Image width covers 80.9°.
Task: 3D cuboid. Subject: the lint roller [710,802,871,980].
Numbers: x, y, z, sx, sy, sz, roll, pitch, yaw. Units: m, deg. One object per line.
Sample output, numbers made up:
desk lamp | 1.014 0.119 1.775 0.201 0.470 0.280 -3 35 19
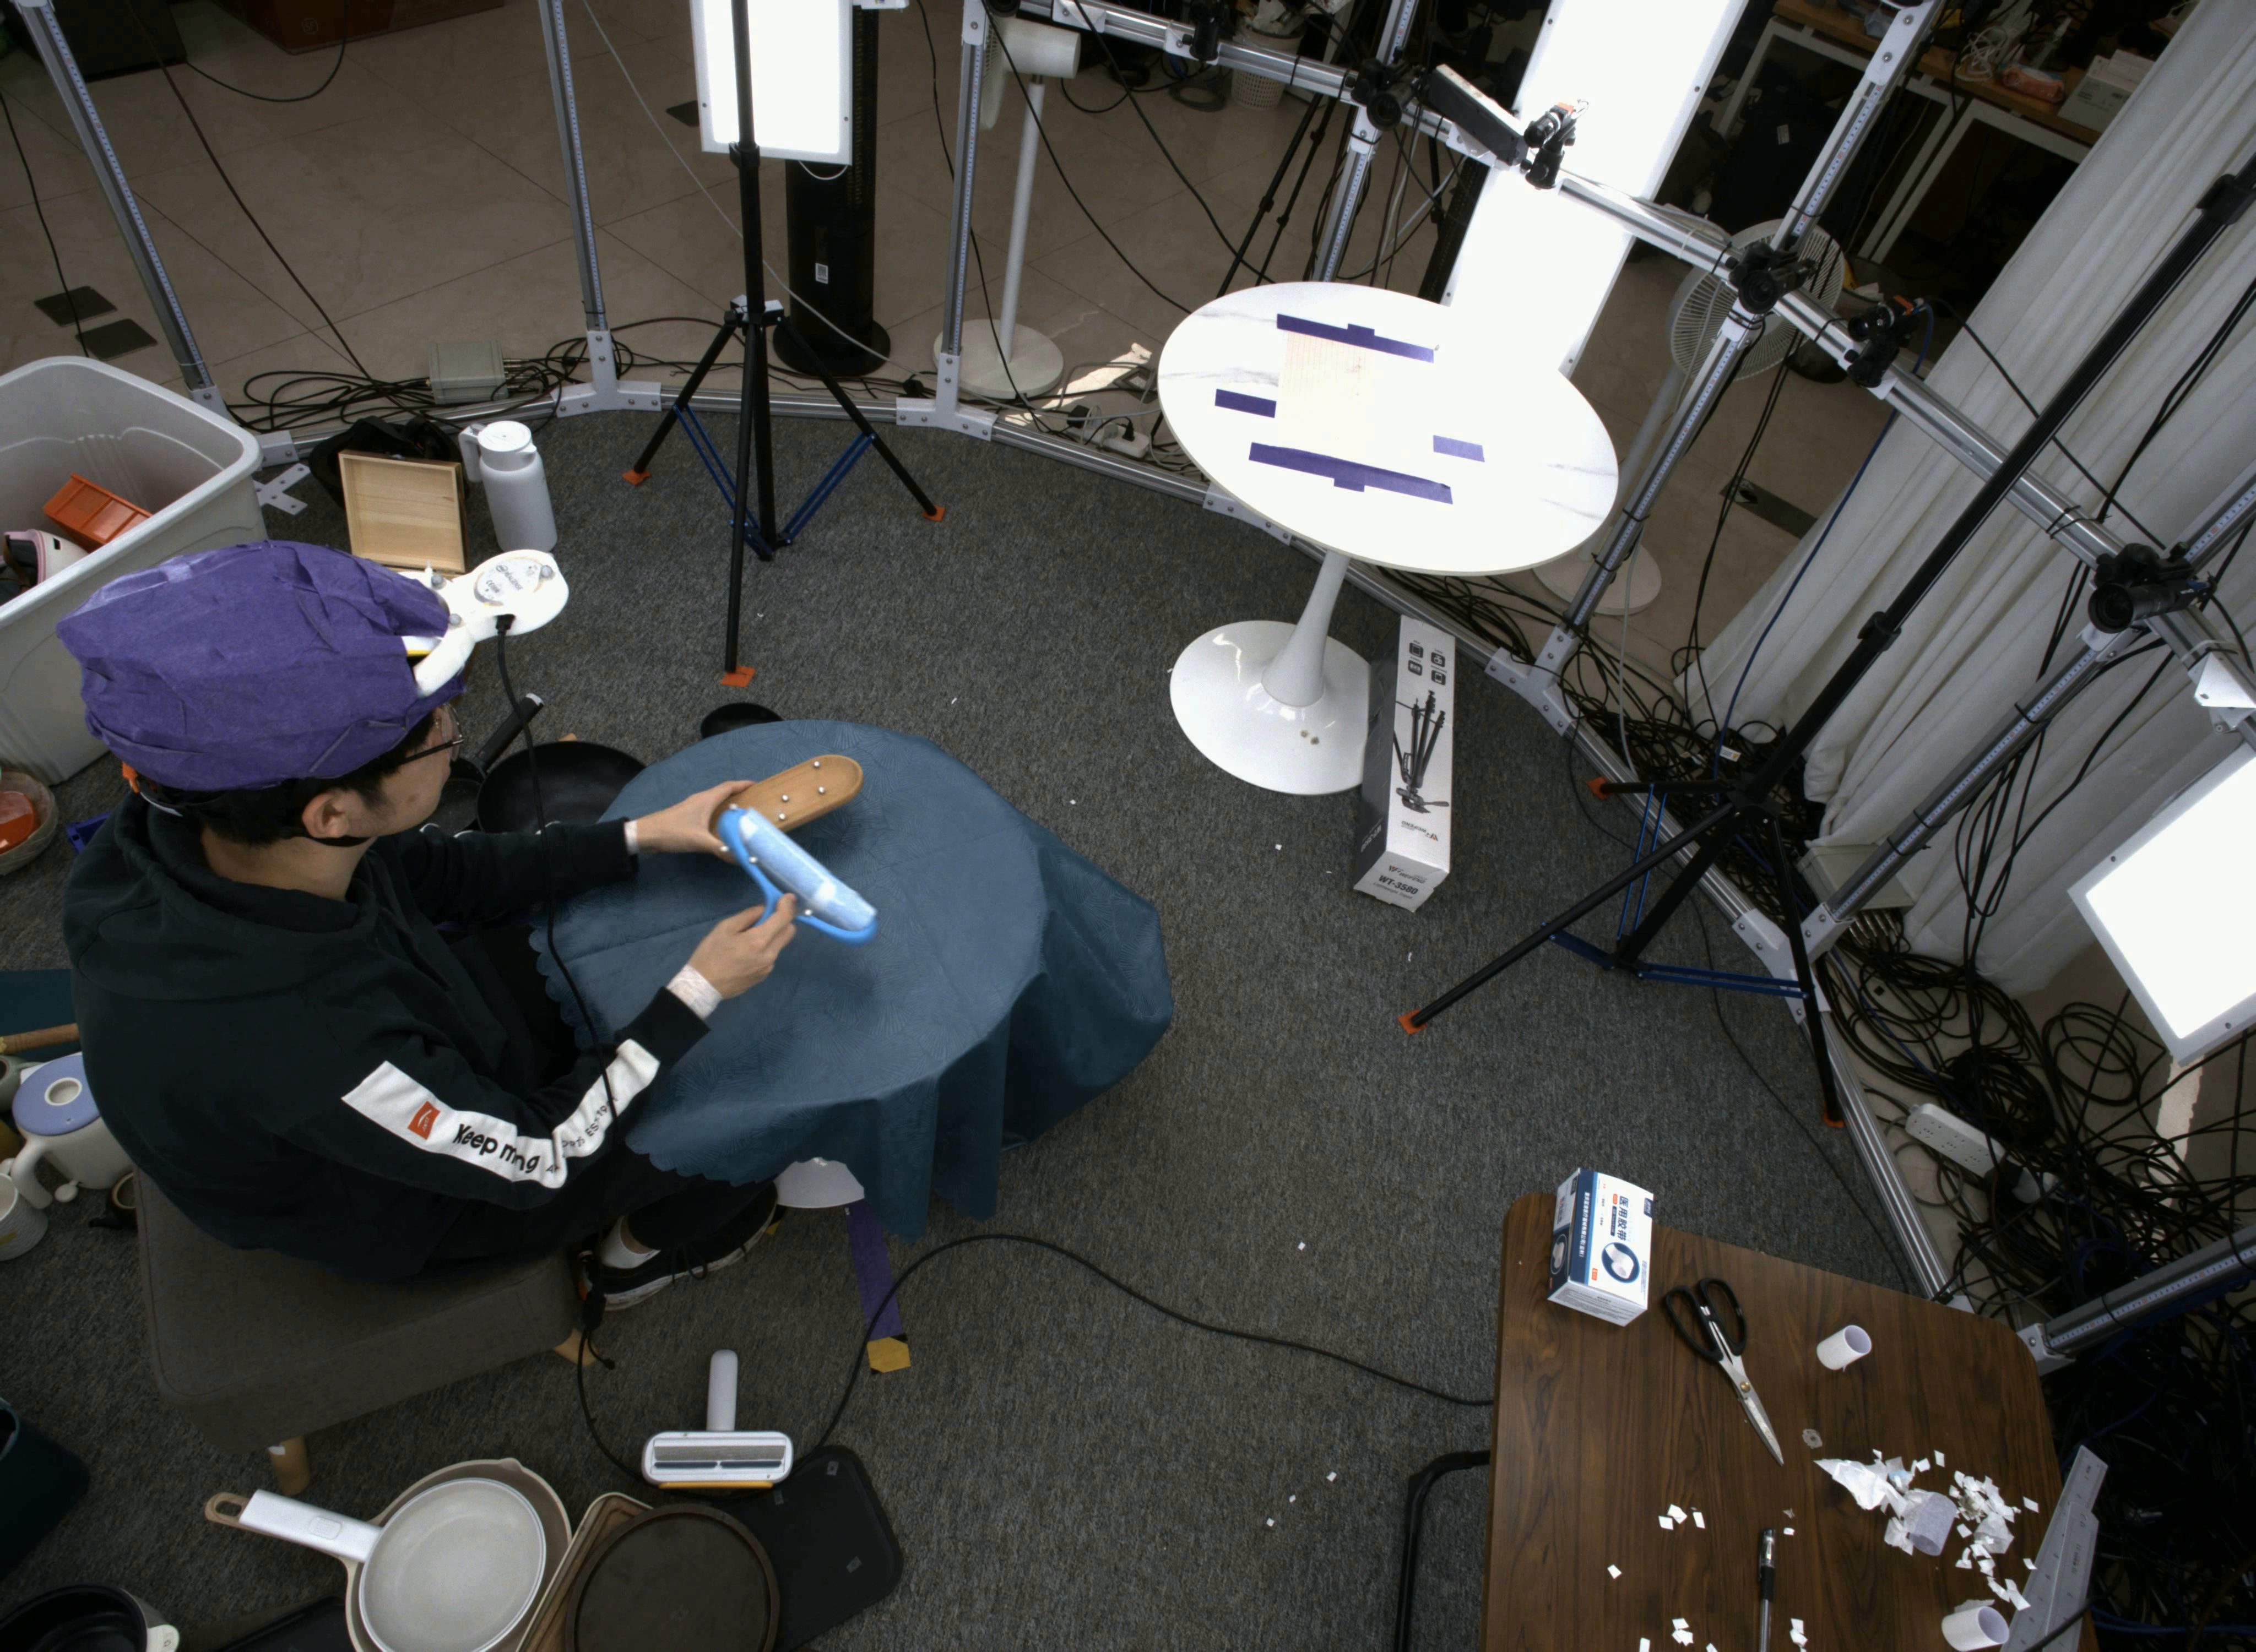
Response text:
lint roller | -0.418 0.097 1.503 0.235 0.066 0.179 42 53 -24

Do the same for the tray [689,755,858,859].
tray | -0.455 -0.027 1.667 0.231 0.021 0.098 -30 46 -21
